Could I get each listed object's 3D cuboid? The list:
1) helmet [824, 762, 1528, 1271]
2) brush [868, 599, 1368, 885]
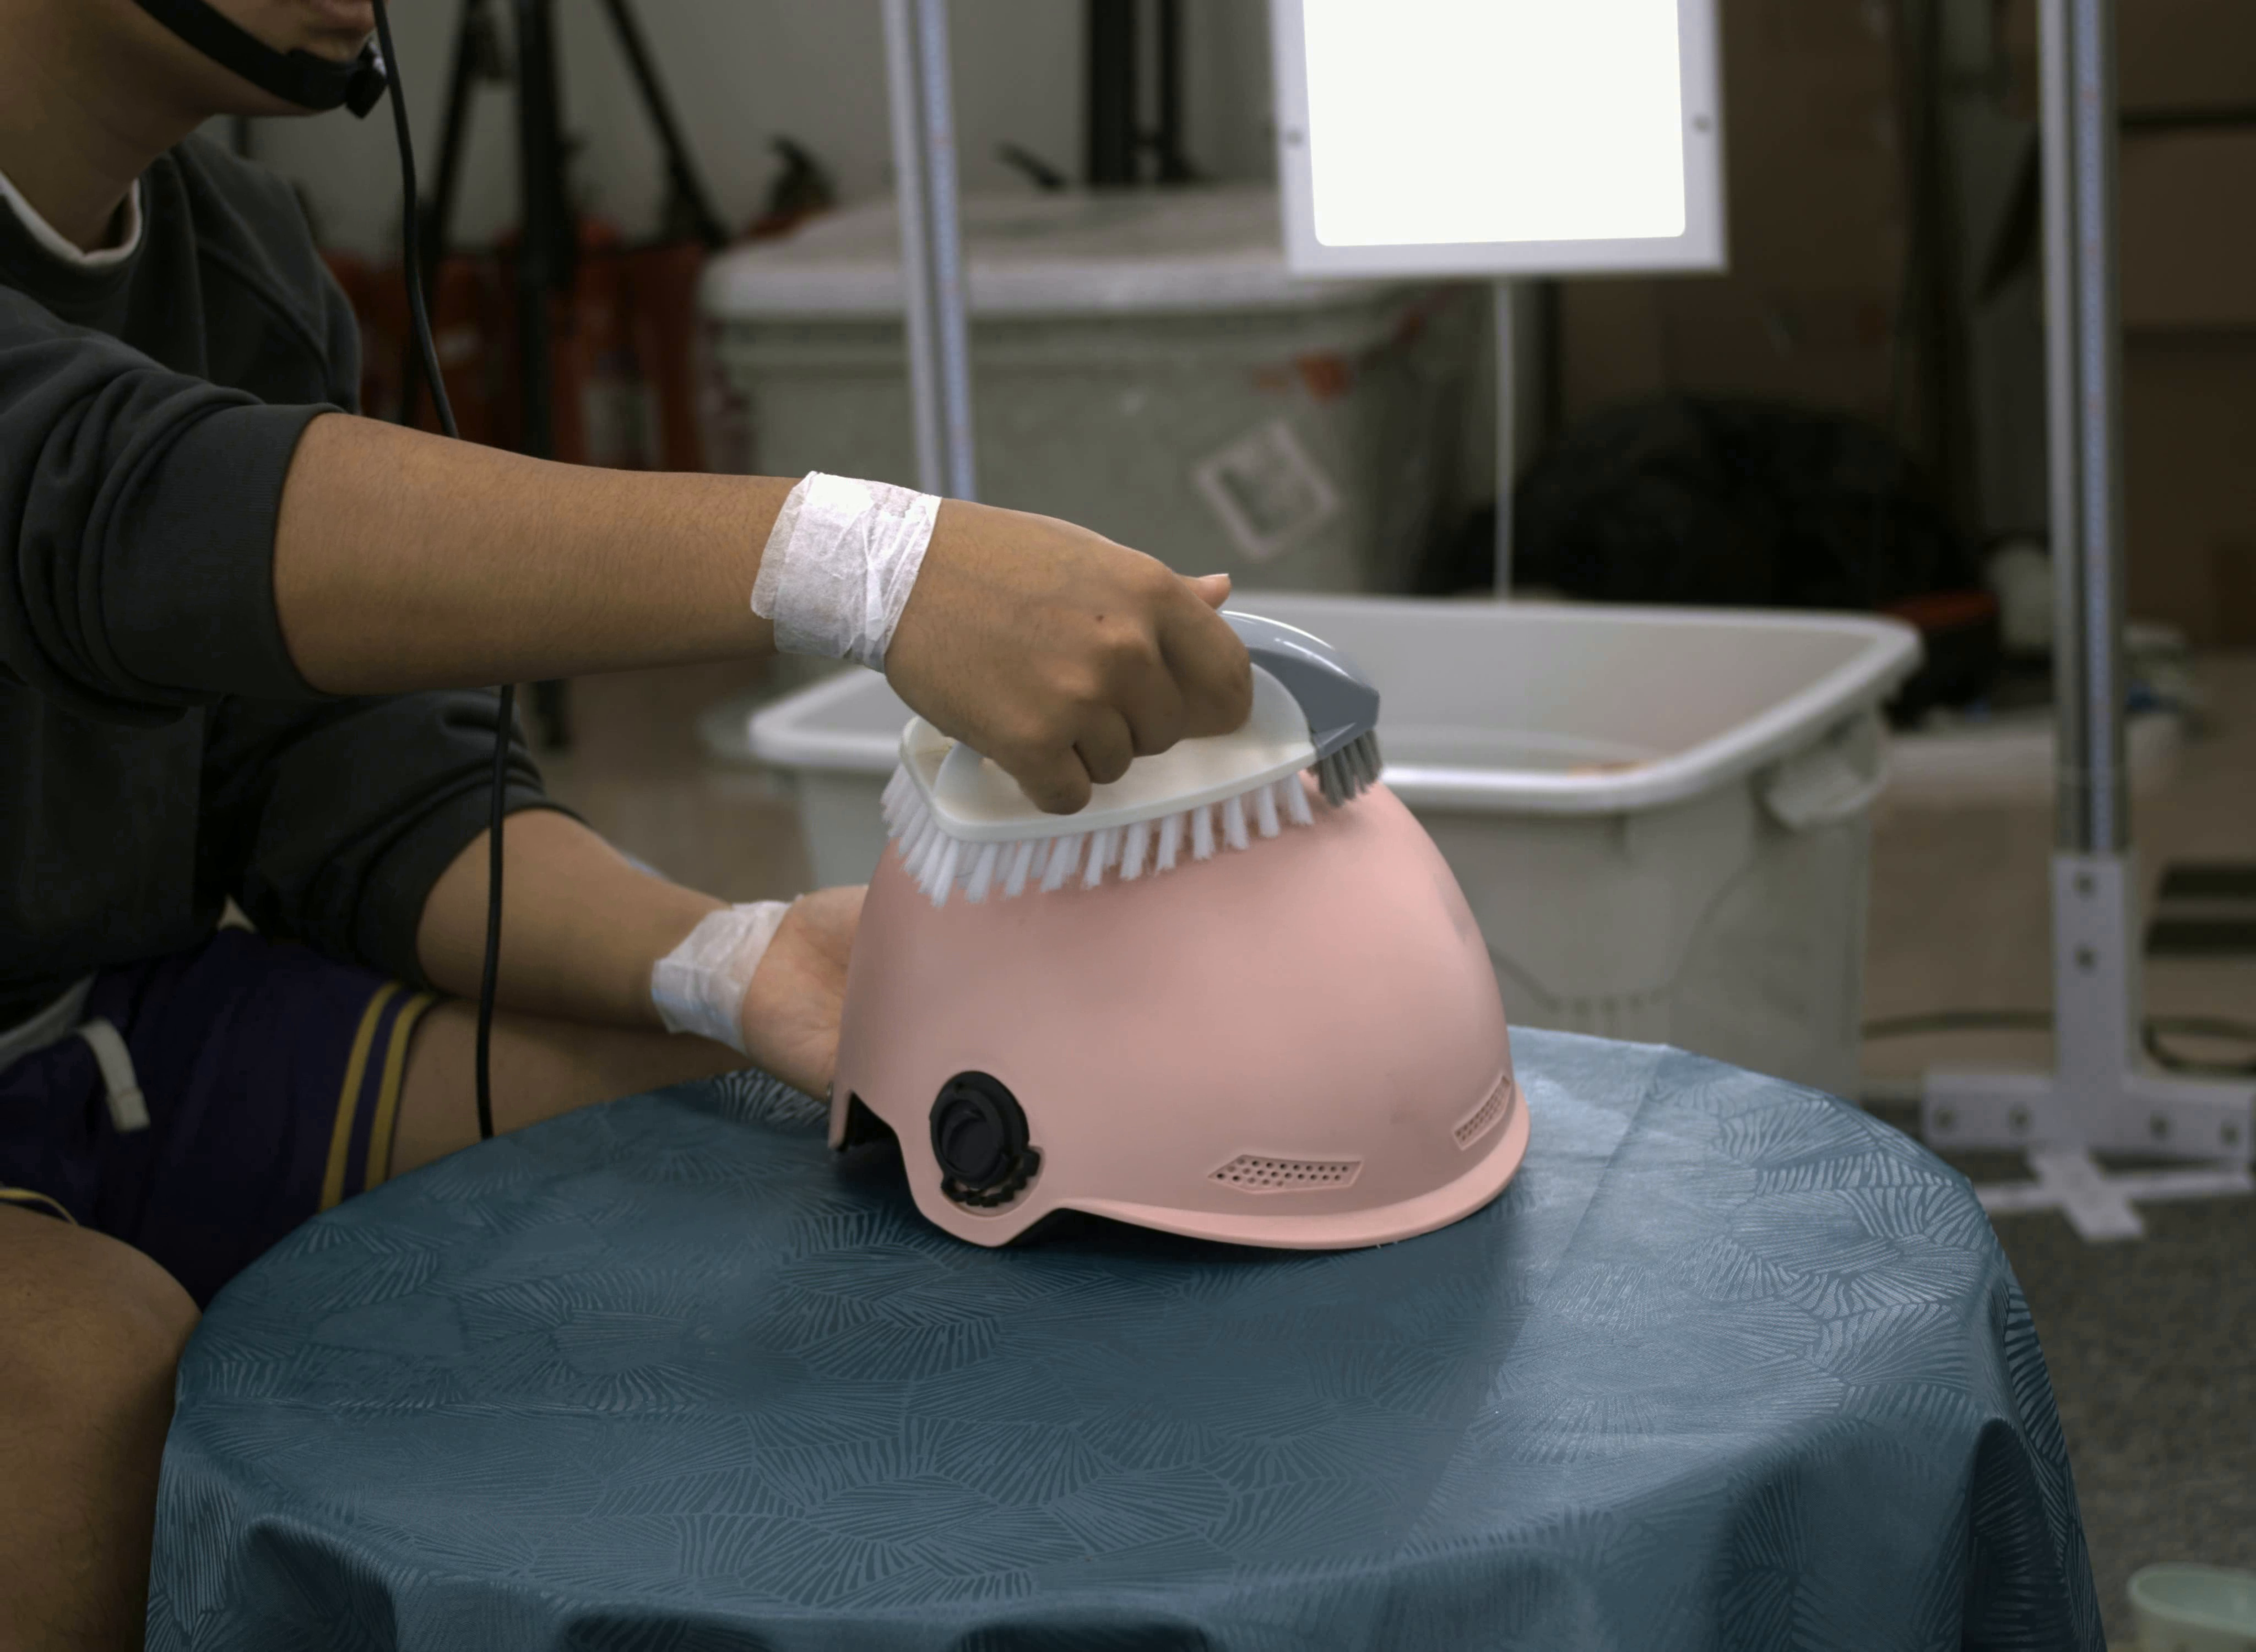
[{"bbox_3d":[0.018,0.043,1.906,0.228,0.160,0.271,-14,23,-35],"label":"helmet"},{"bbox_3d":[0.006,-0.038,1.805,0.172,0.095,0.062,-7,48,-21],"label":"brush"}]
